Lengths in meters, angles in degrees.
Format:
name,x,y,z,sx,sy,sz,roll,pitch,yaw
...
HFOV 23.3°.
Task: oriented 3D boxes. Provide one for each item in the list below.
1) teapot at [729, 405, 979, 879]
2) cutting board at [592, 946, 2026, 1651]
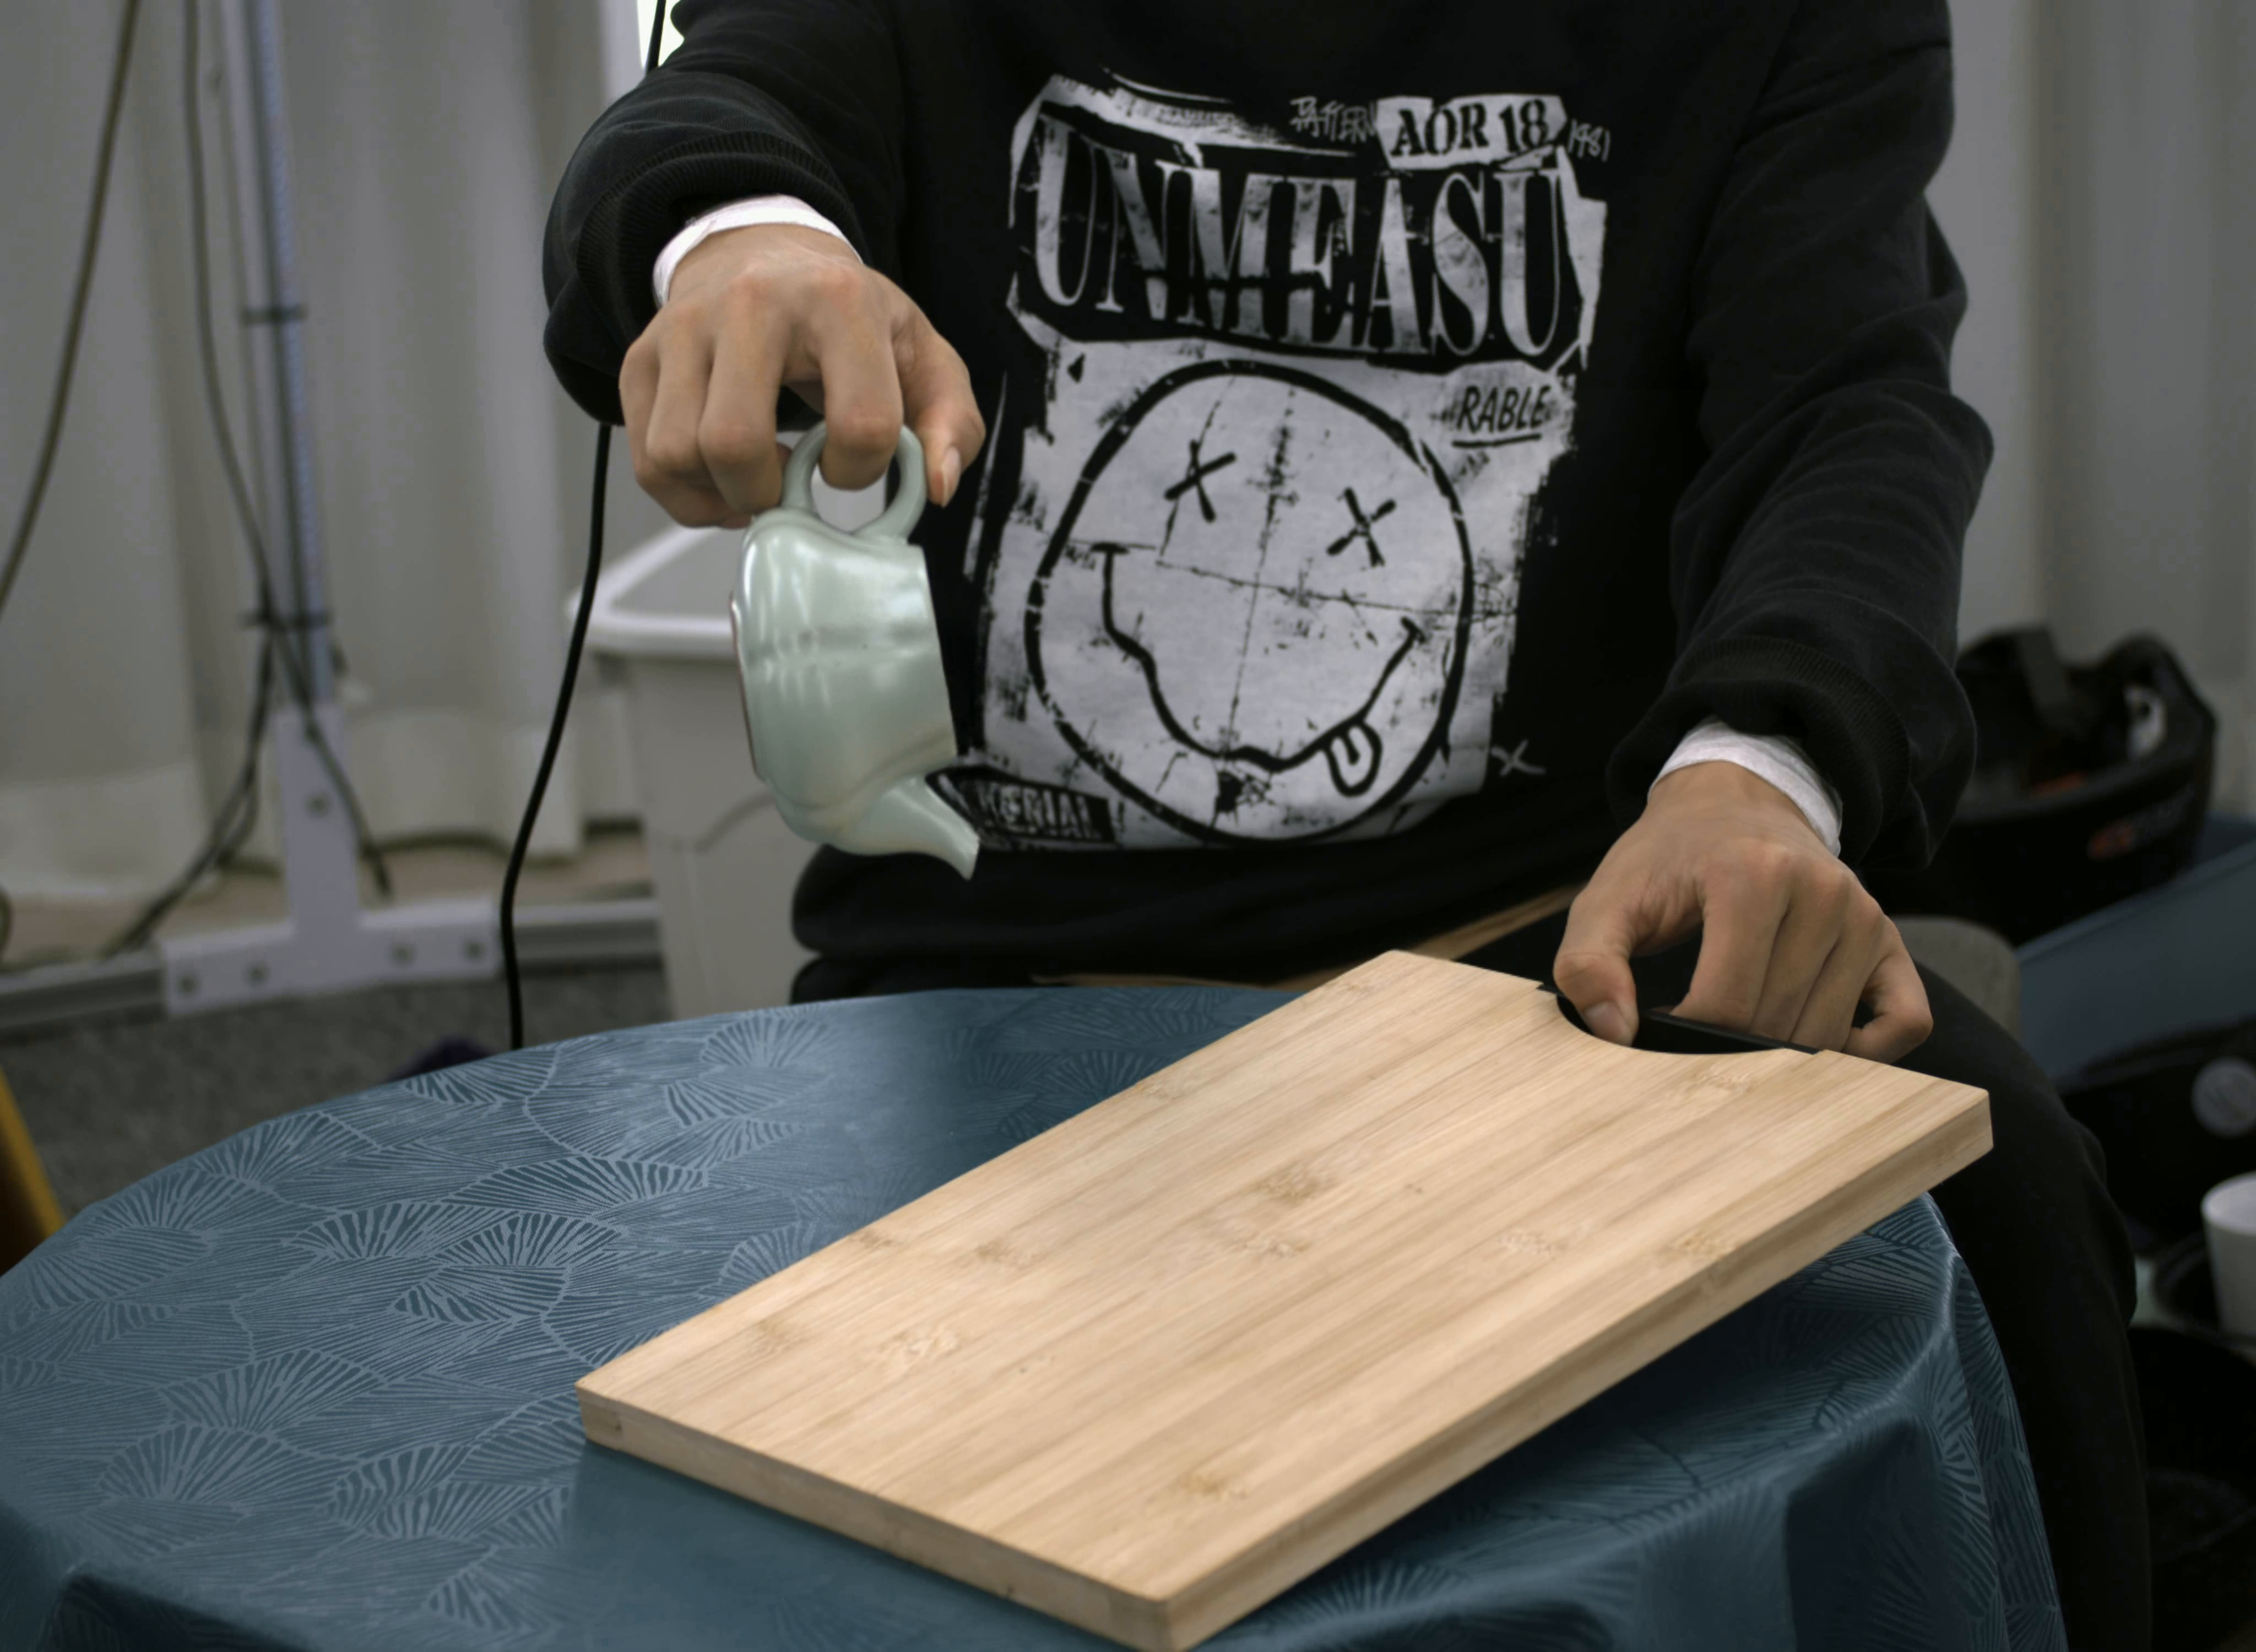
name,x,y,z,sx,sy,sz,roll,pitch,yaw
teapot,-0.080,-0.050,1.548,0.061,0.137,0.096,-7,-3,0
cutting board,0.052,0.123,1.550,0.252,0.023,0.349,12,29,44
